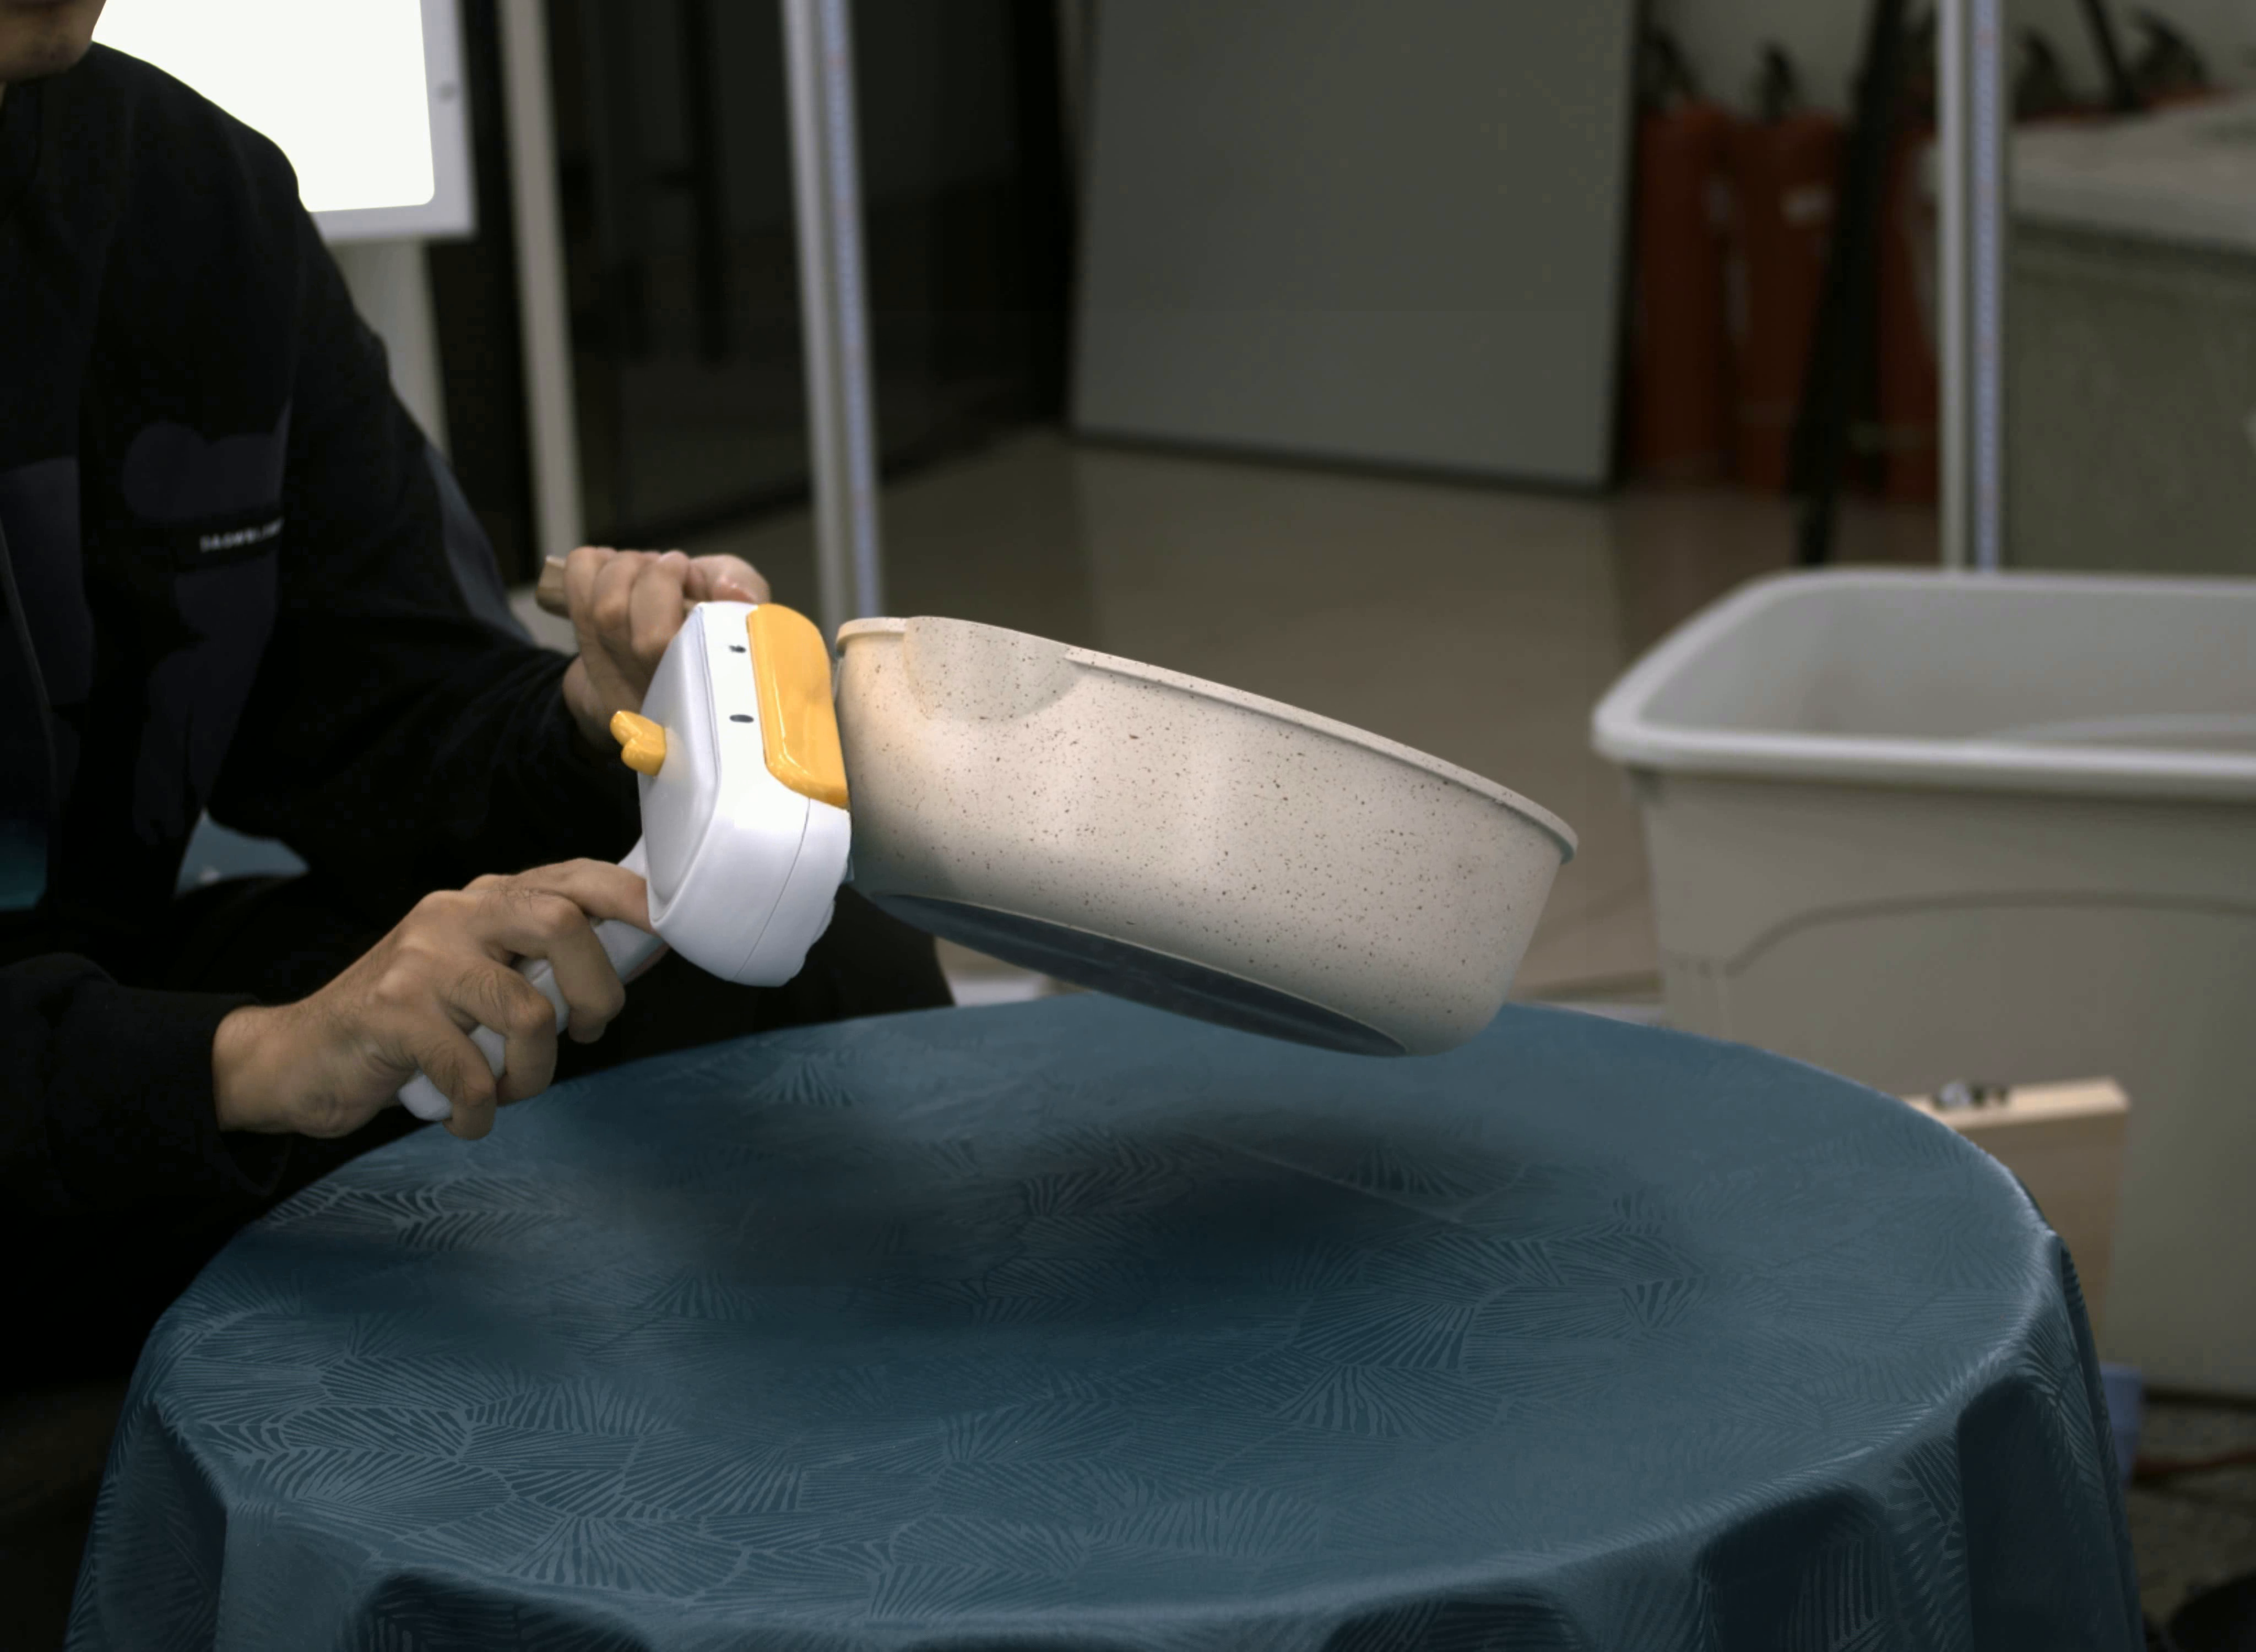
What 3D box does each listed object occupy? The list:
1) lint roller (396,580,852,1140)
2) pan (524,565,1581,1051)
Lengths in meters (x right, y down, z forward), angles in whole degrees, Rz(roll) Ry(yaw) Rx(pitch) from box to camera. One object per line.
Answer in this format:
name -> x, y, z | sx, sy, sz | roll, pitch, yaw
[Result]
lint roller -> -0.161, 0.026, 1.724 | 0.073, 0.194, 0.194 | 28, 15, -22
pan -> -0.052, -0.011, 1.804 | 0.438, 0.103, 0.258 | 11, -7, 39
